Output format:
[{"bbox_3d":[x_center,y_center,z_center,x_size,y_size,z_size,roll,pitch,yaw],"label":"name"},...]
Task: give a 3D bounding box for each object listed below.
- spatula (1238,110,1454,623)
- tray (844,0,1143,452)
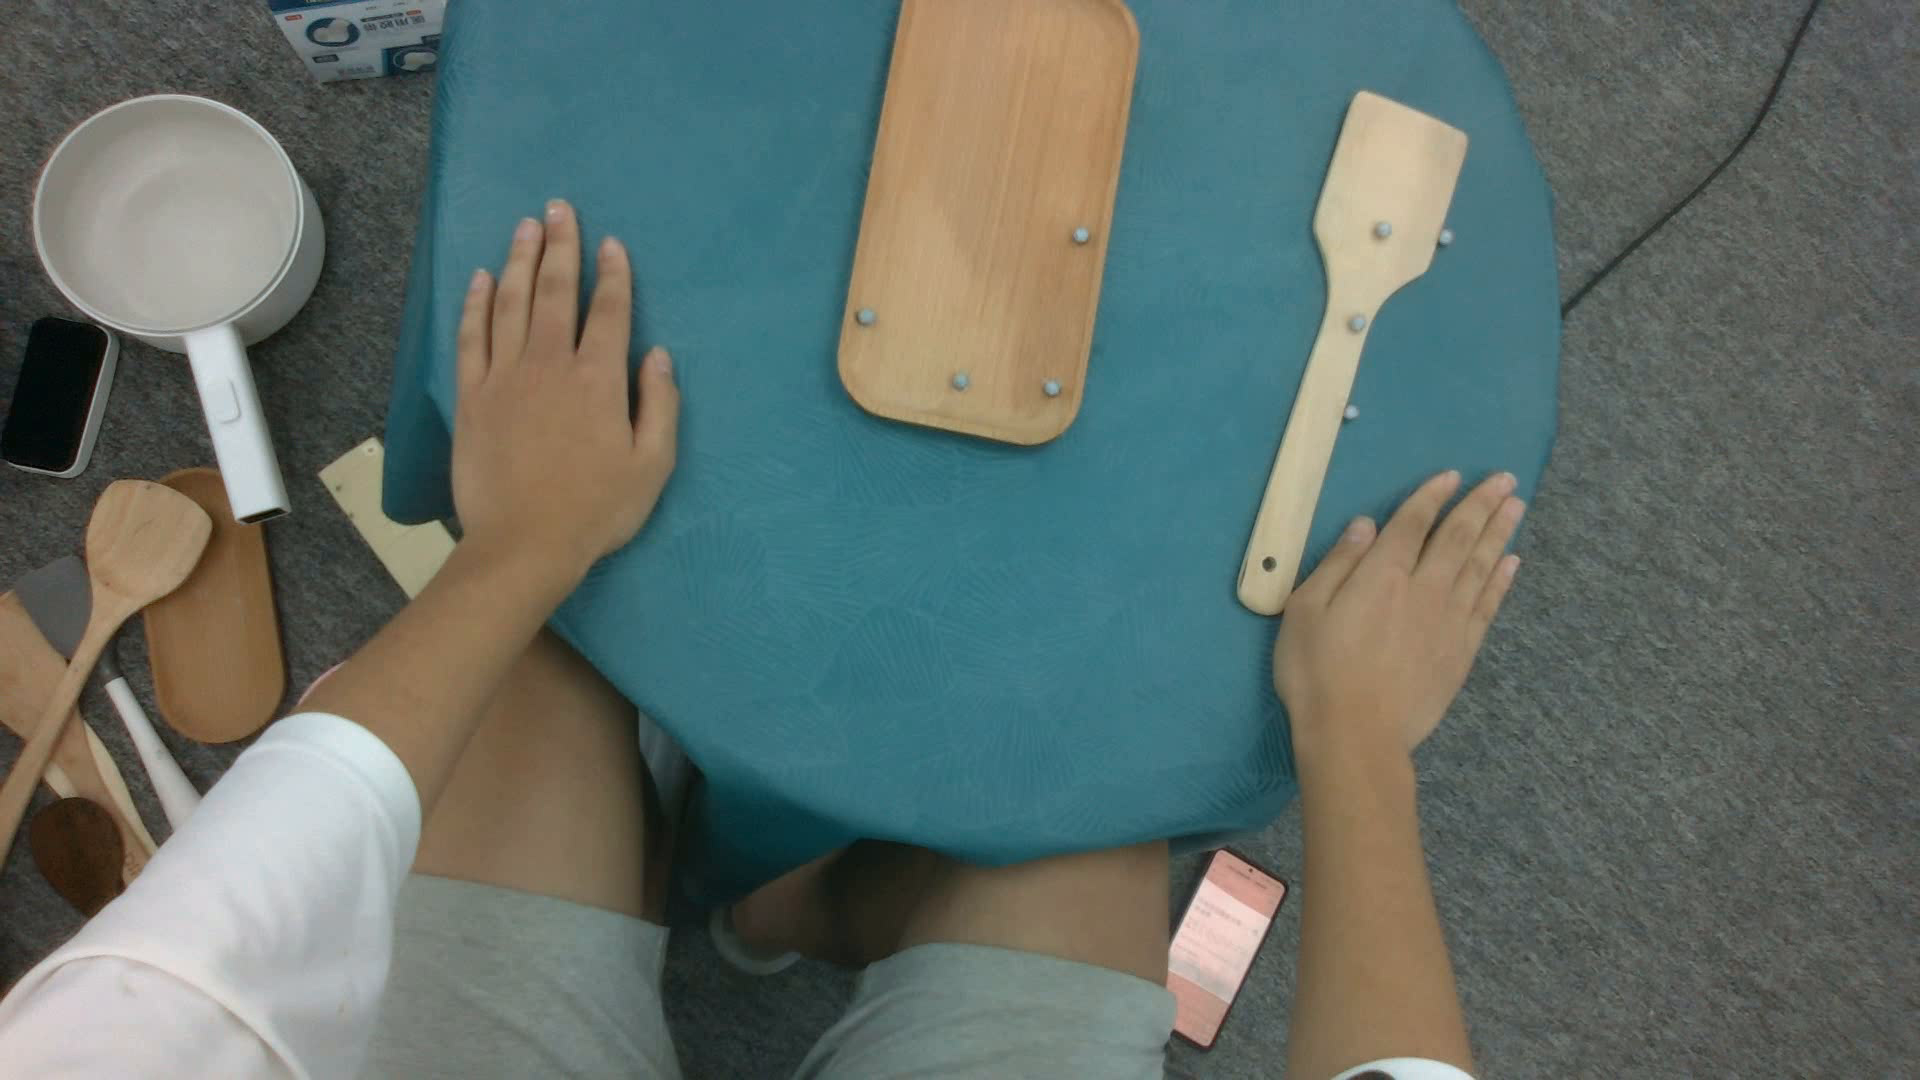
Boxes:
[{"bbox_3d":[0.203,-0.094,0.750,0.072,0.010,0.293,19,80,-6],"label":"spatula"},{"bbox_3d":[0.019,-0.174,0.732,0.130,0.023,0.251,12,80,-9],"label":"tray"}]
